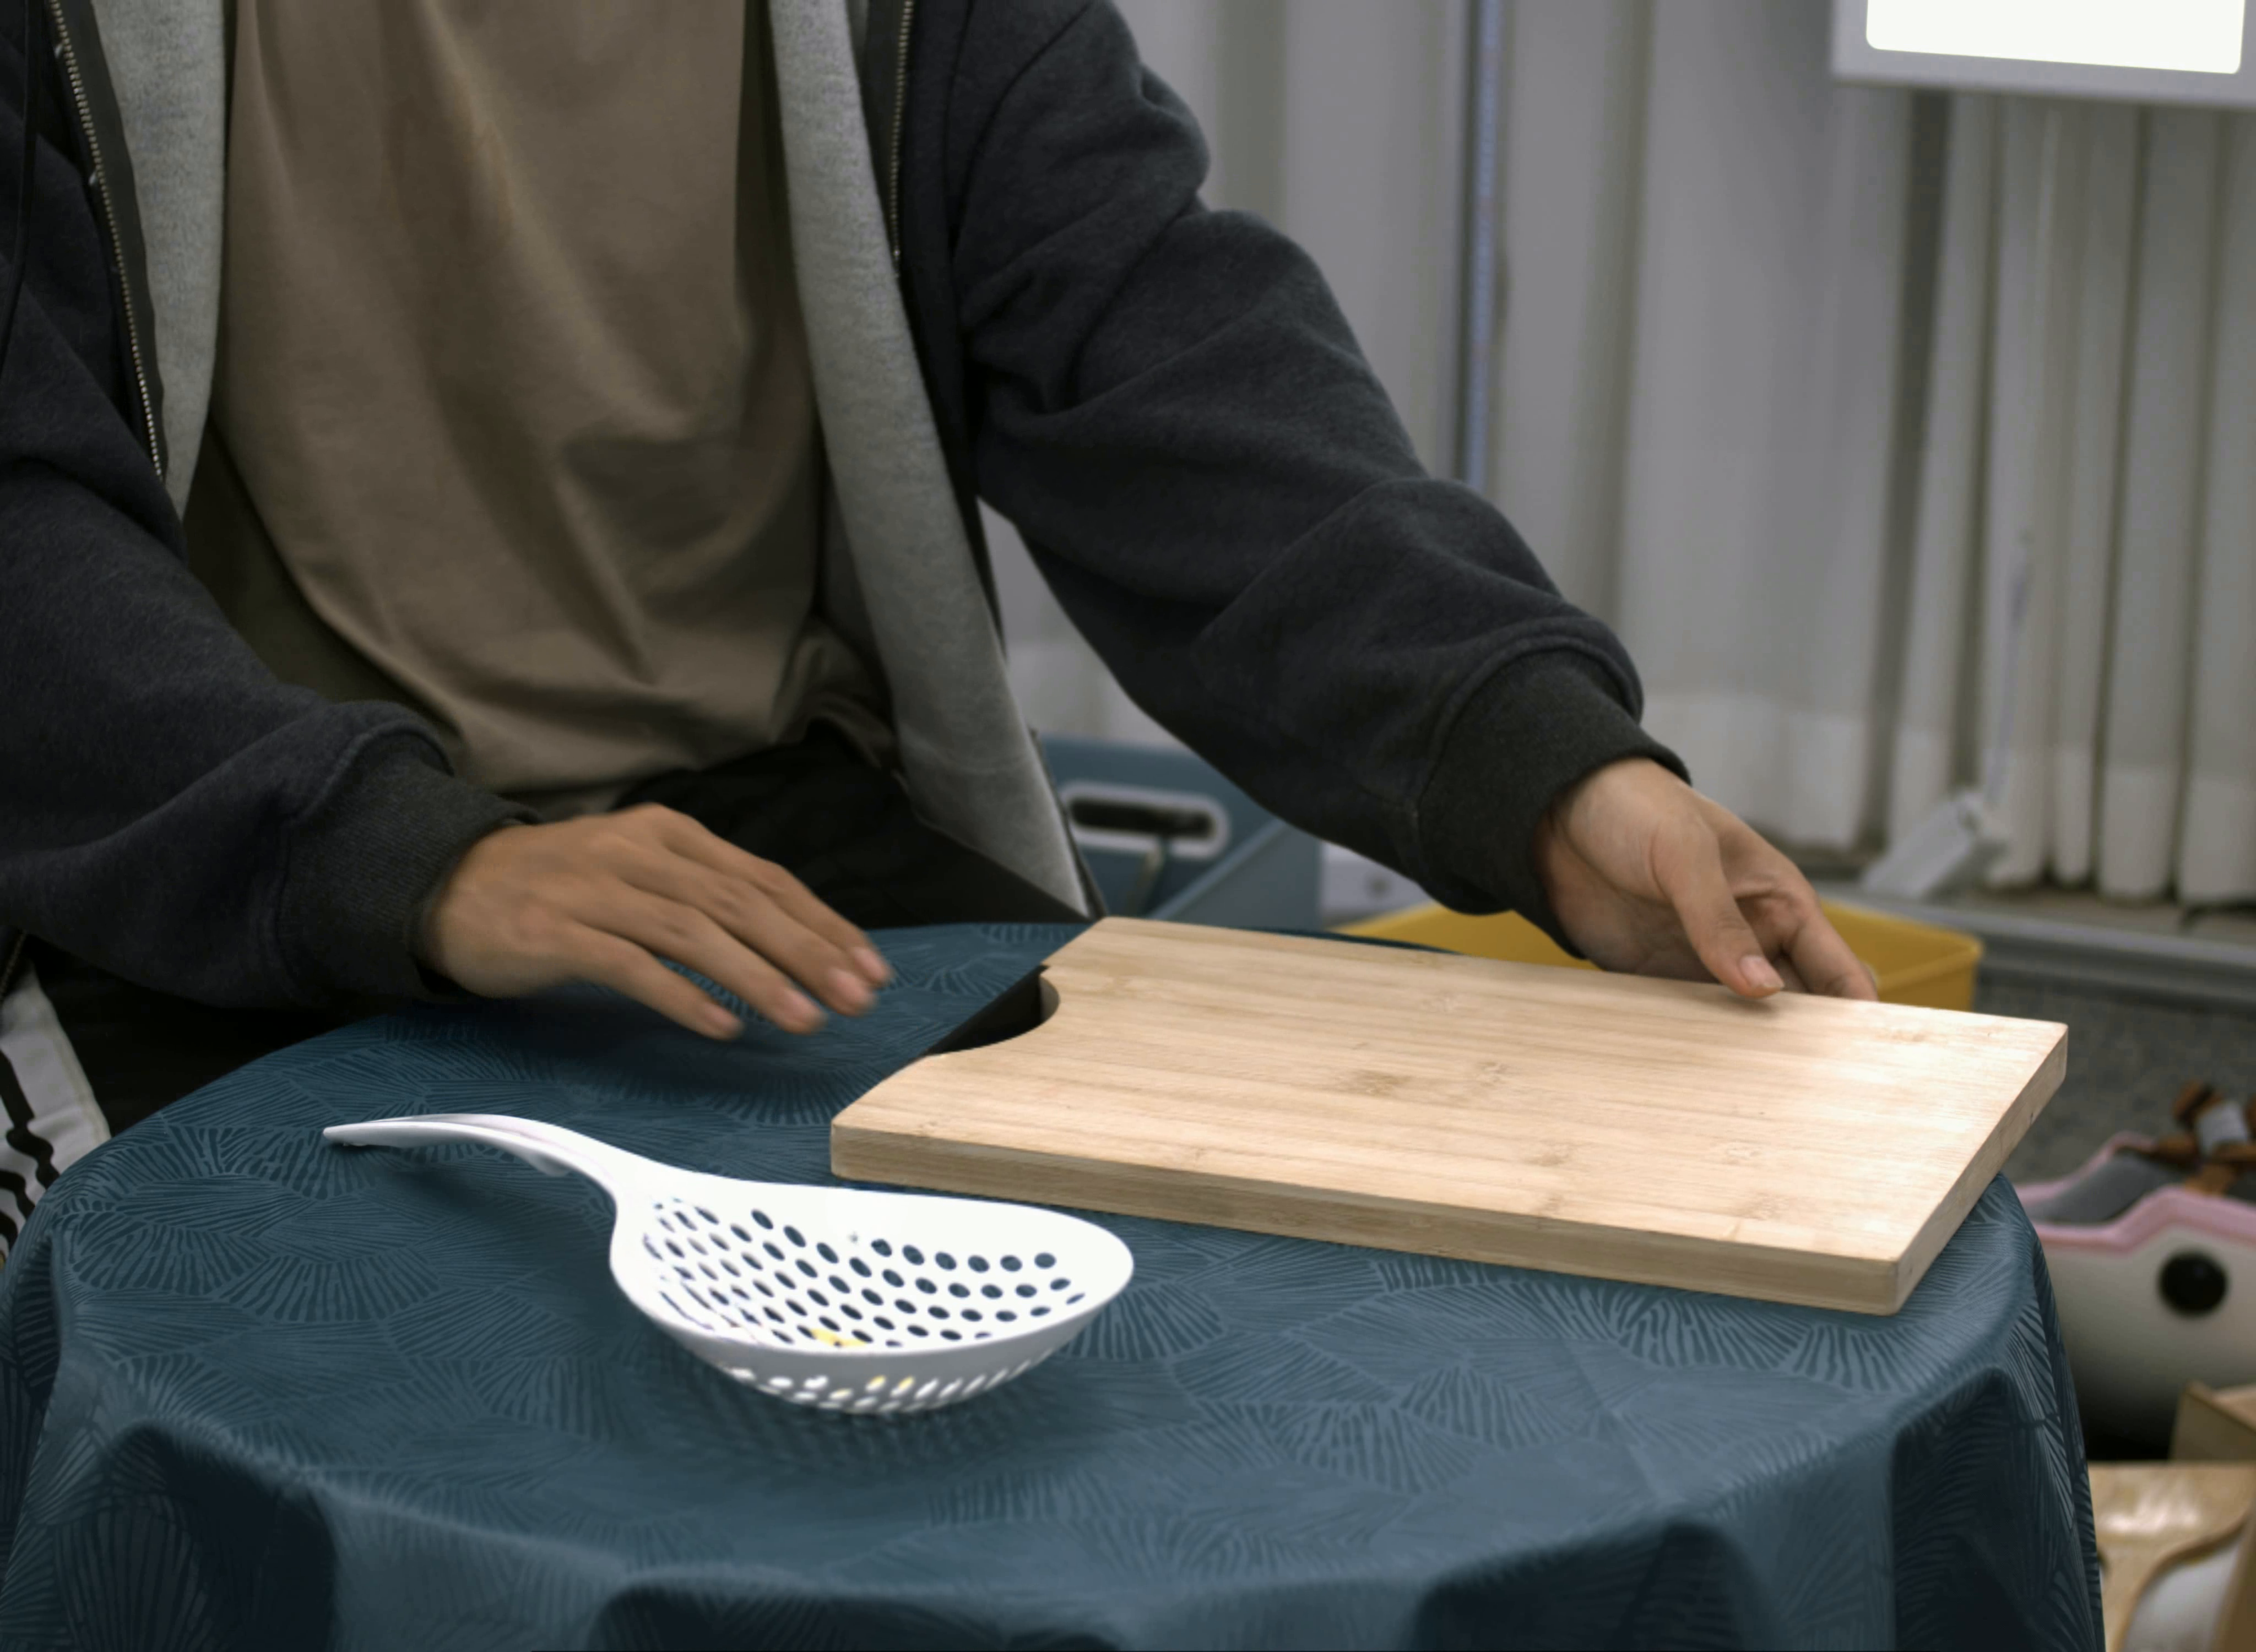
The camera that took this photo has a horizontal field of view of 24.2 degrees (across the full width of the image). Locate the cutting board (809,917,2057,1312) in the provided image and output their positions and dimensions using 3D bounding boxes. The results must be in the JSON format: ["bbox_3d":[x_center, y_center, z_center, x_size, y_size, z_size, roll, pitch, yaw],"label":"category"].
[{"bbox_3d":[0.103,0.087,1.685,0.345,0.024,0.251,6,16,19],"label":"cutting board"}]

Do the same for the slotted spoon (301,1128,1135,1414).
[{"bbox_3d":[-0.138,0.115,1.529,0.137,0.051,0.343,-15,22,-38],"label":"slotted spoon"}]
